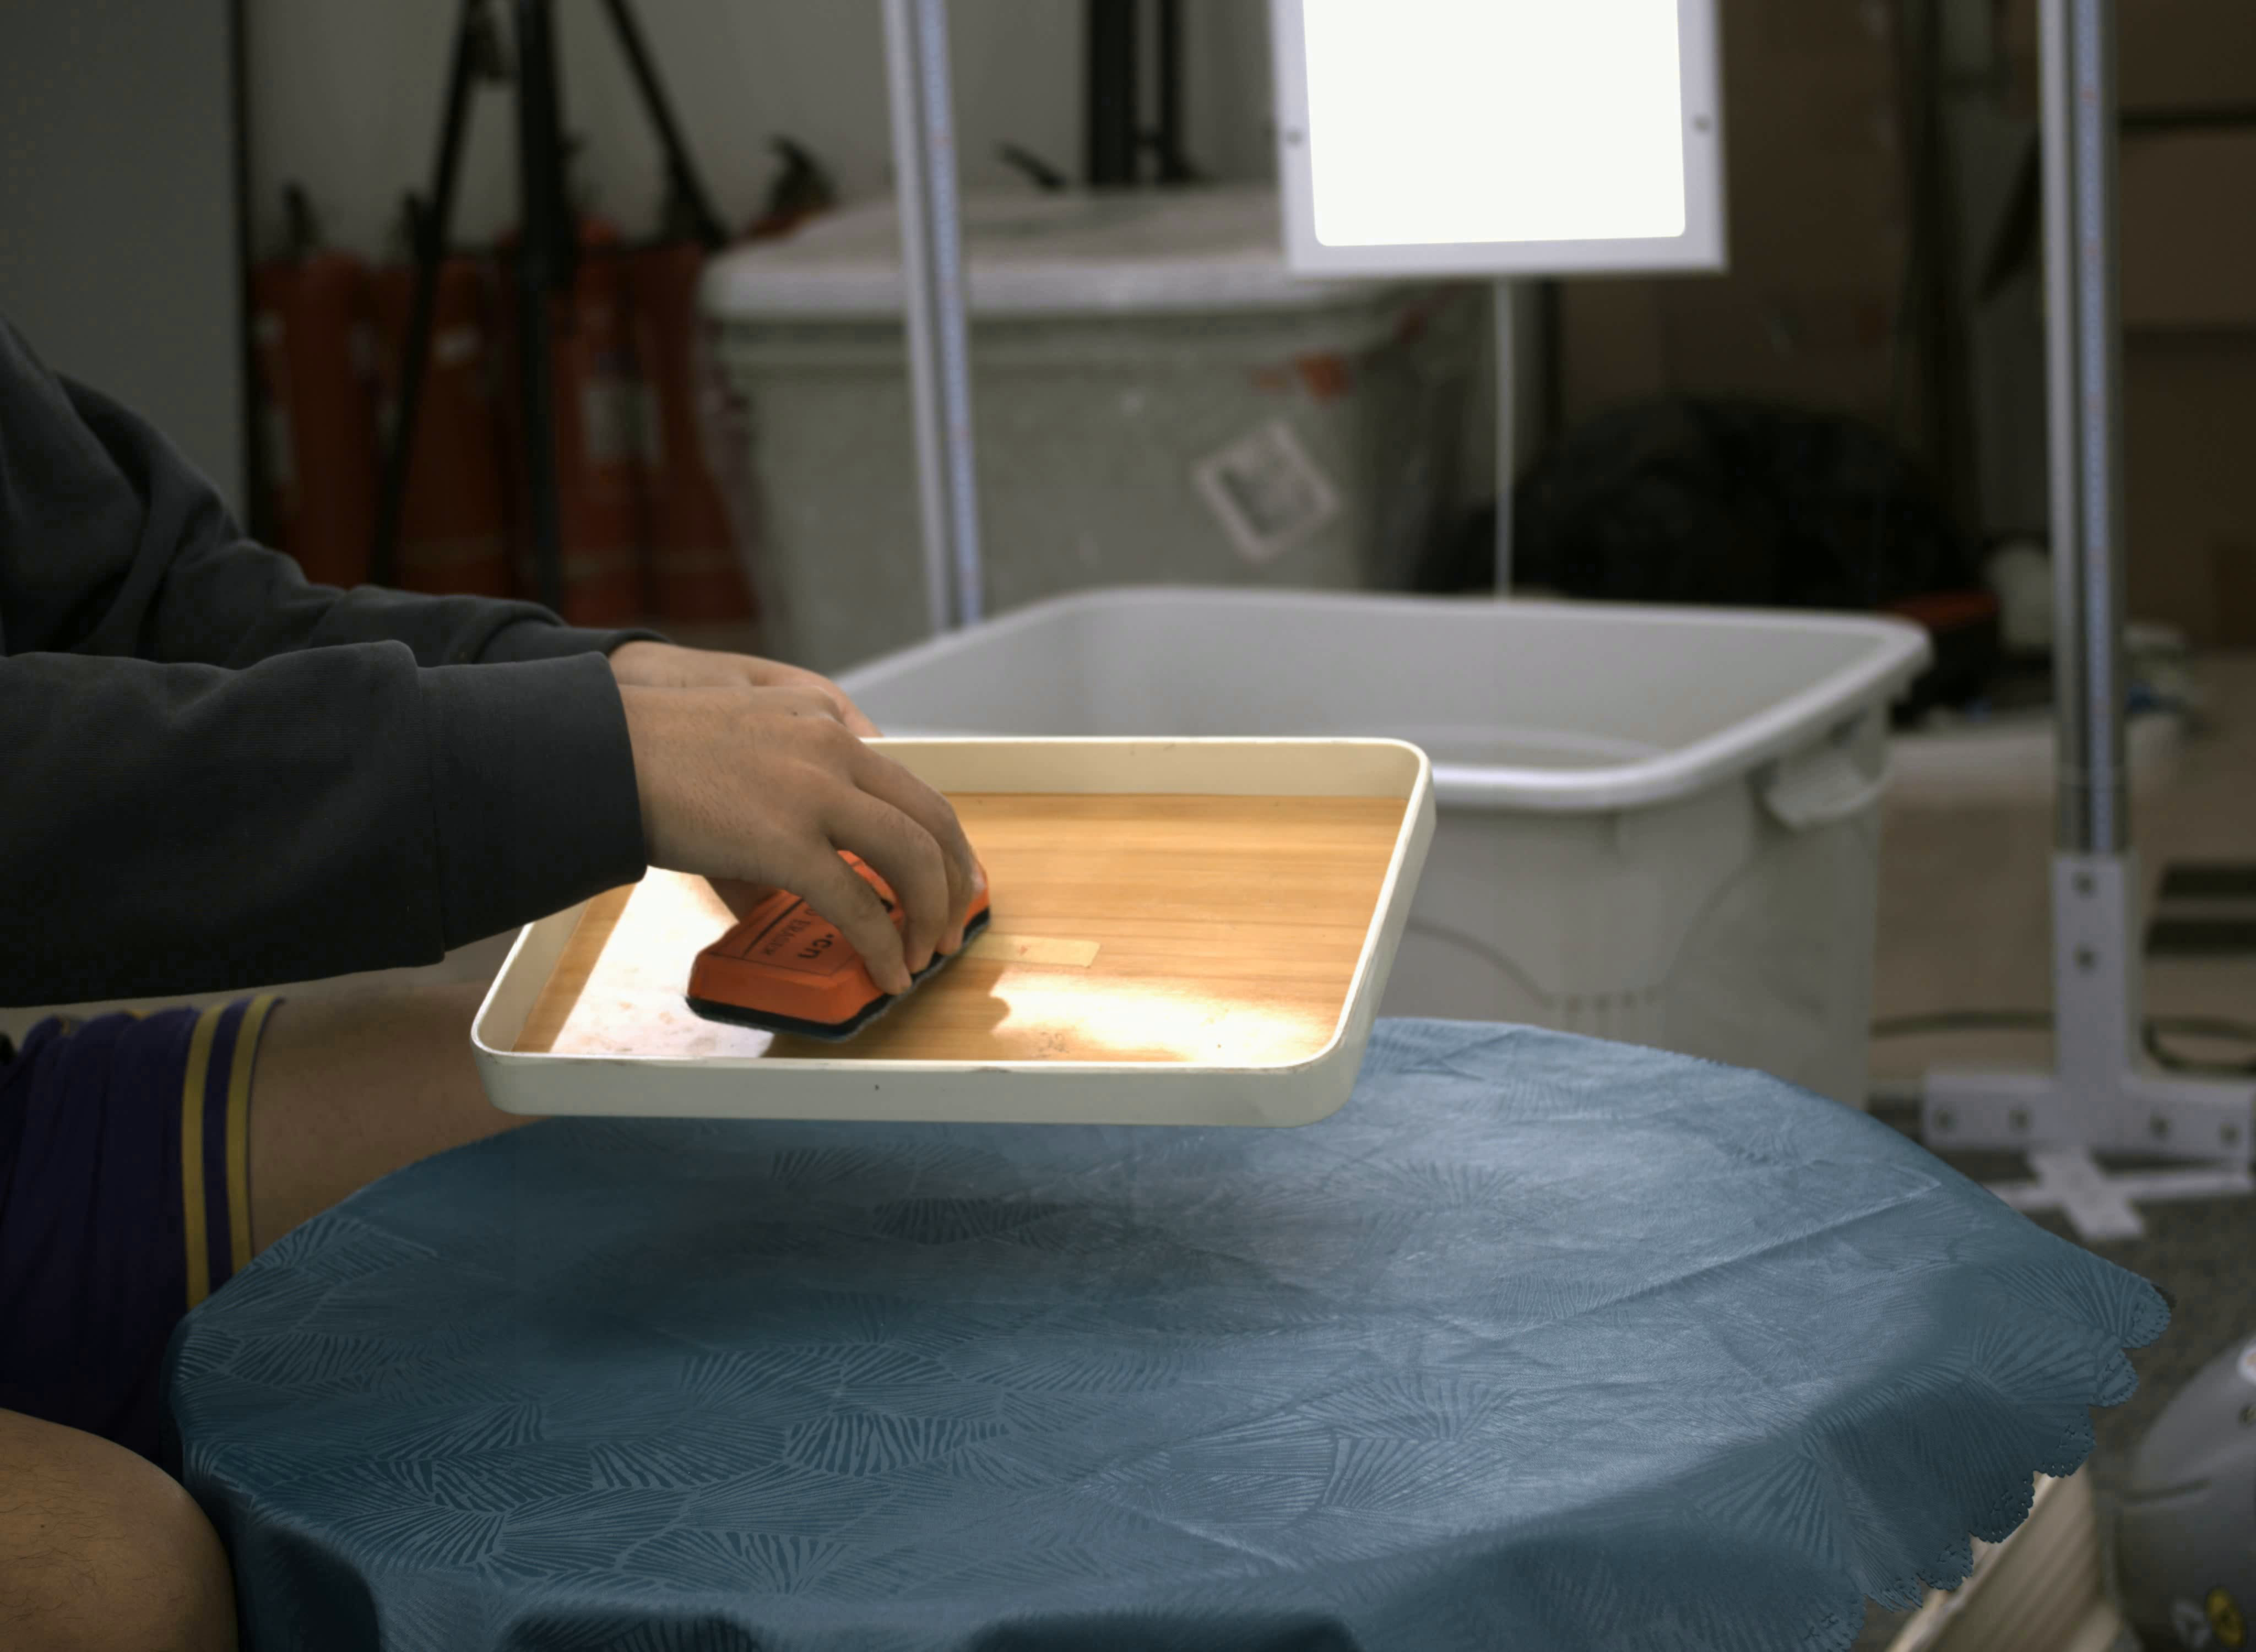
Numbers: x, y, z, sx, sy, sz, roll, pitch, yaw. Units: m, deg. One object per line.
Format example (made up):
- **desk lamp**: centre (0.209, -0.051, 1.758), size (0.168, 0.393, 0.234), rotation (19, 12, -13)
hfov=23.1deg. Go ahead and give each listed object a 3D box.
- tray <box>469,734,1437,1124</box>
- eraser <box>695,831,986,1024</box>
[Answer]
- **tray**: centre (-0.056, 0.033, 1.854), size (0.304, 0.027, 0.189), rotation (0, 35, 18)
- **eraser**: centre (-0.095, 0.033, 1.834), size (0.060, 0.023, 0.106), rotation (-1, 24, 31)
